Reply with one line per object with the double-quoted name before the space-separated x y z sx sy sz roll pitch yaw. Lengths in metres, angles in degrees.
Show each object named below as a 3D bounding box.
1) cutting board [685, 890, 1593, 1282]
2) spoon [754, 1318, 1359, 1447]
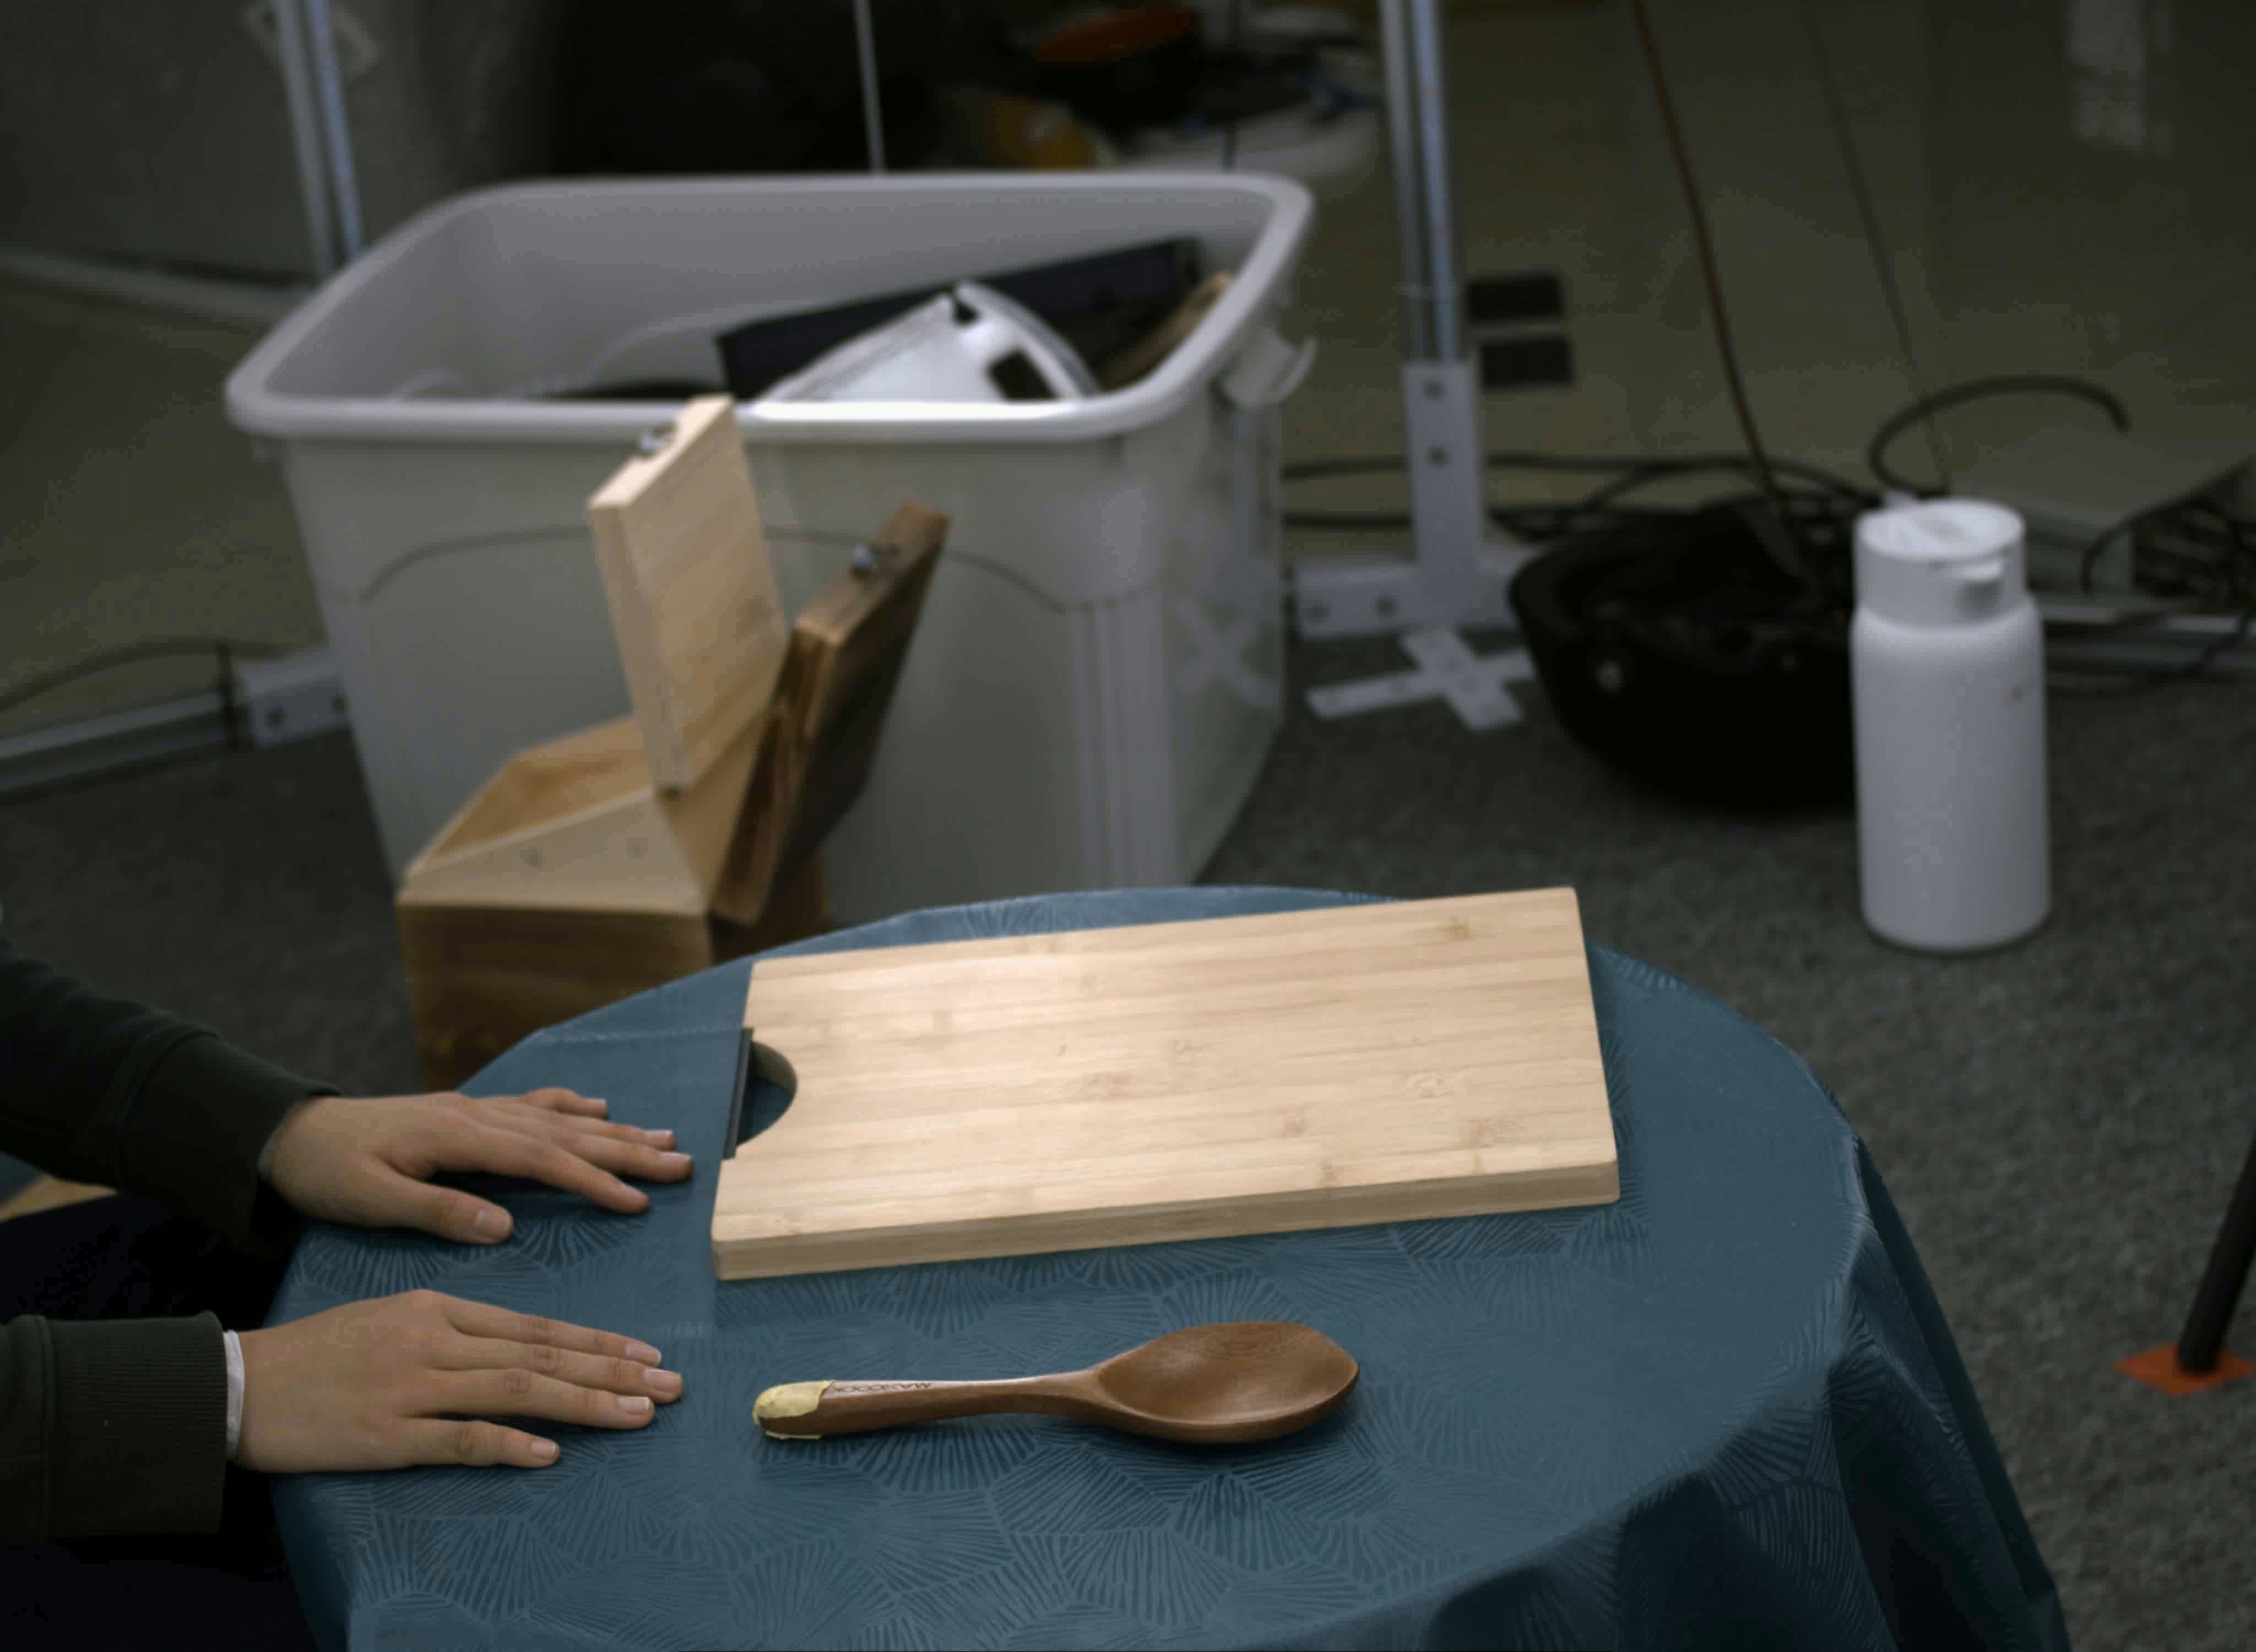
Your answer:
"cutting board" 0.007 0.099 2.218 0.348 0.024 0.247 -6 24 2
"spoon" -0.026 0.201 2.005 0.215 0.017 0.074 -3 27 7
